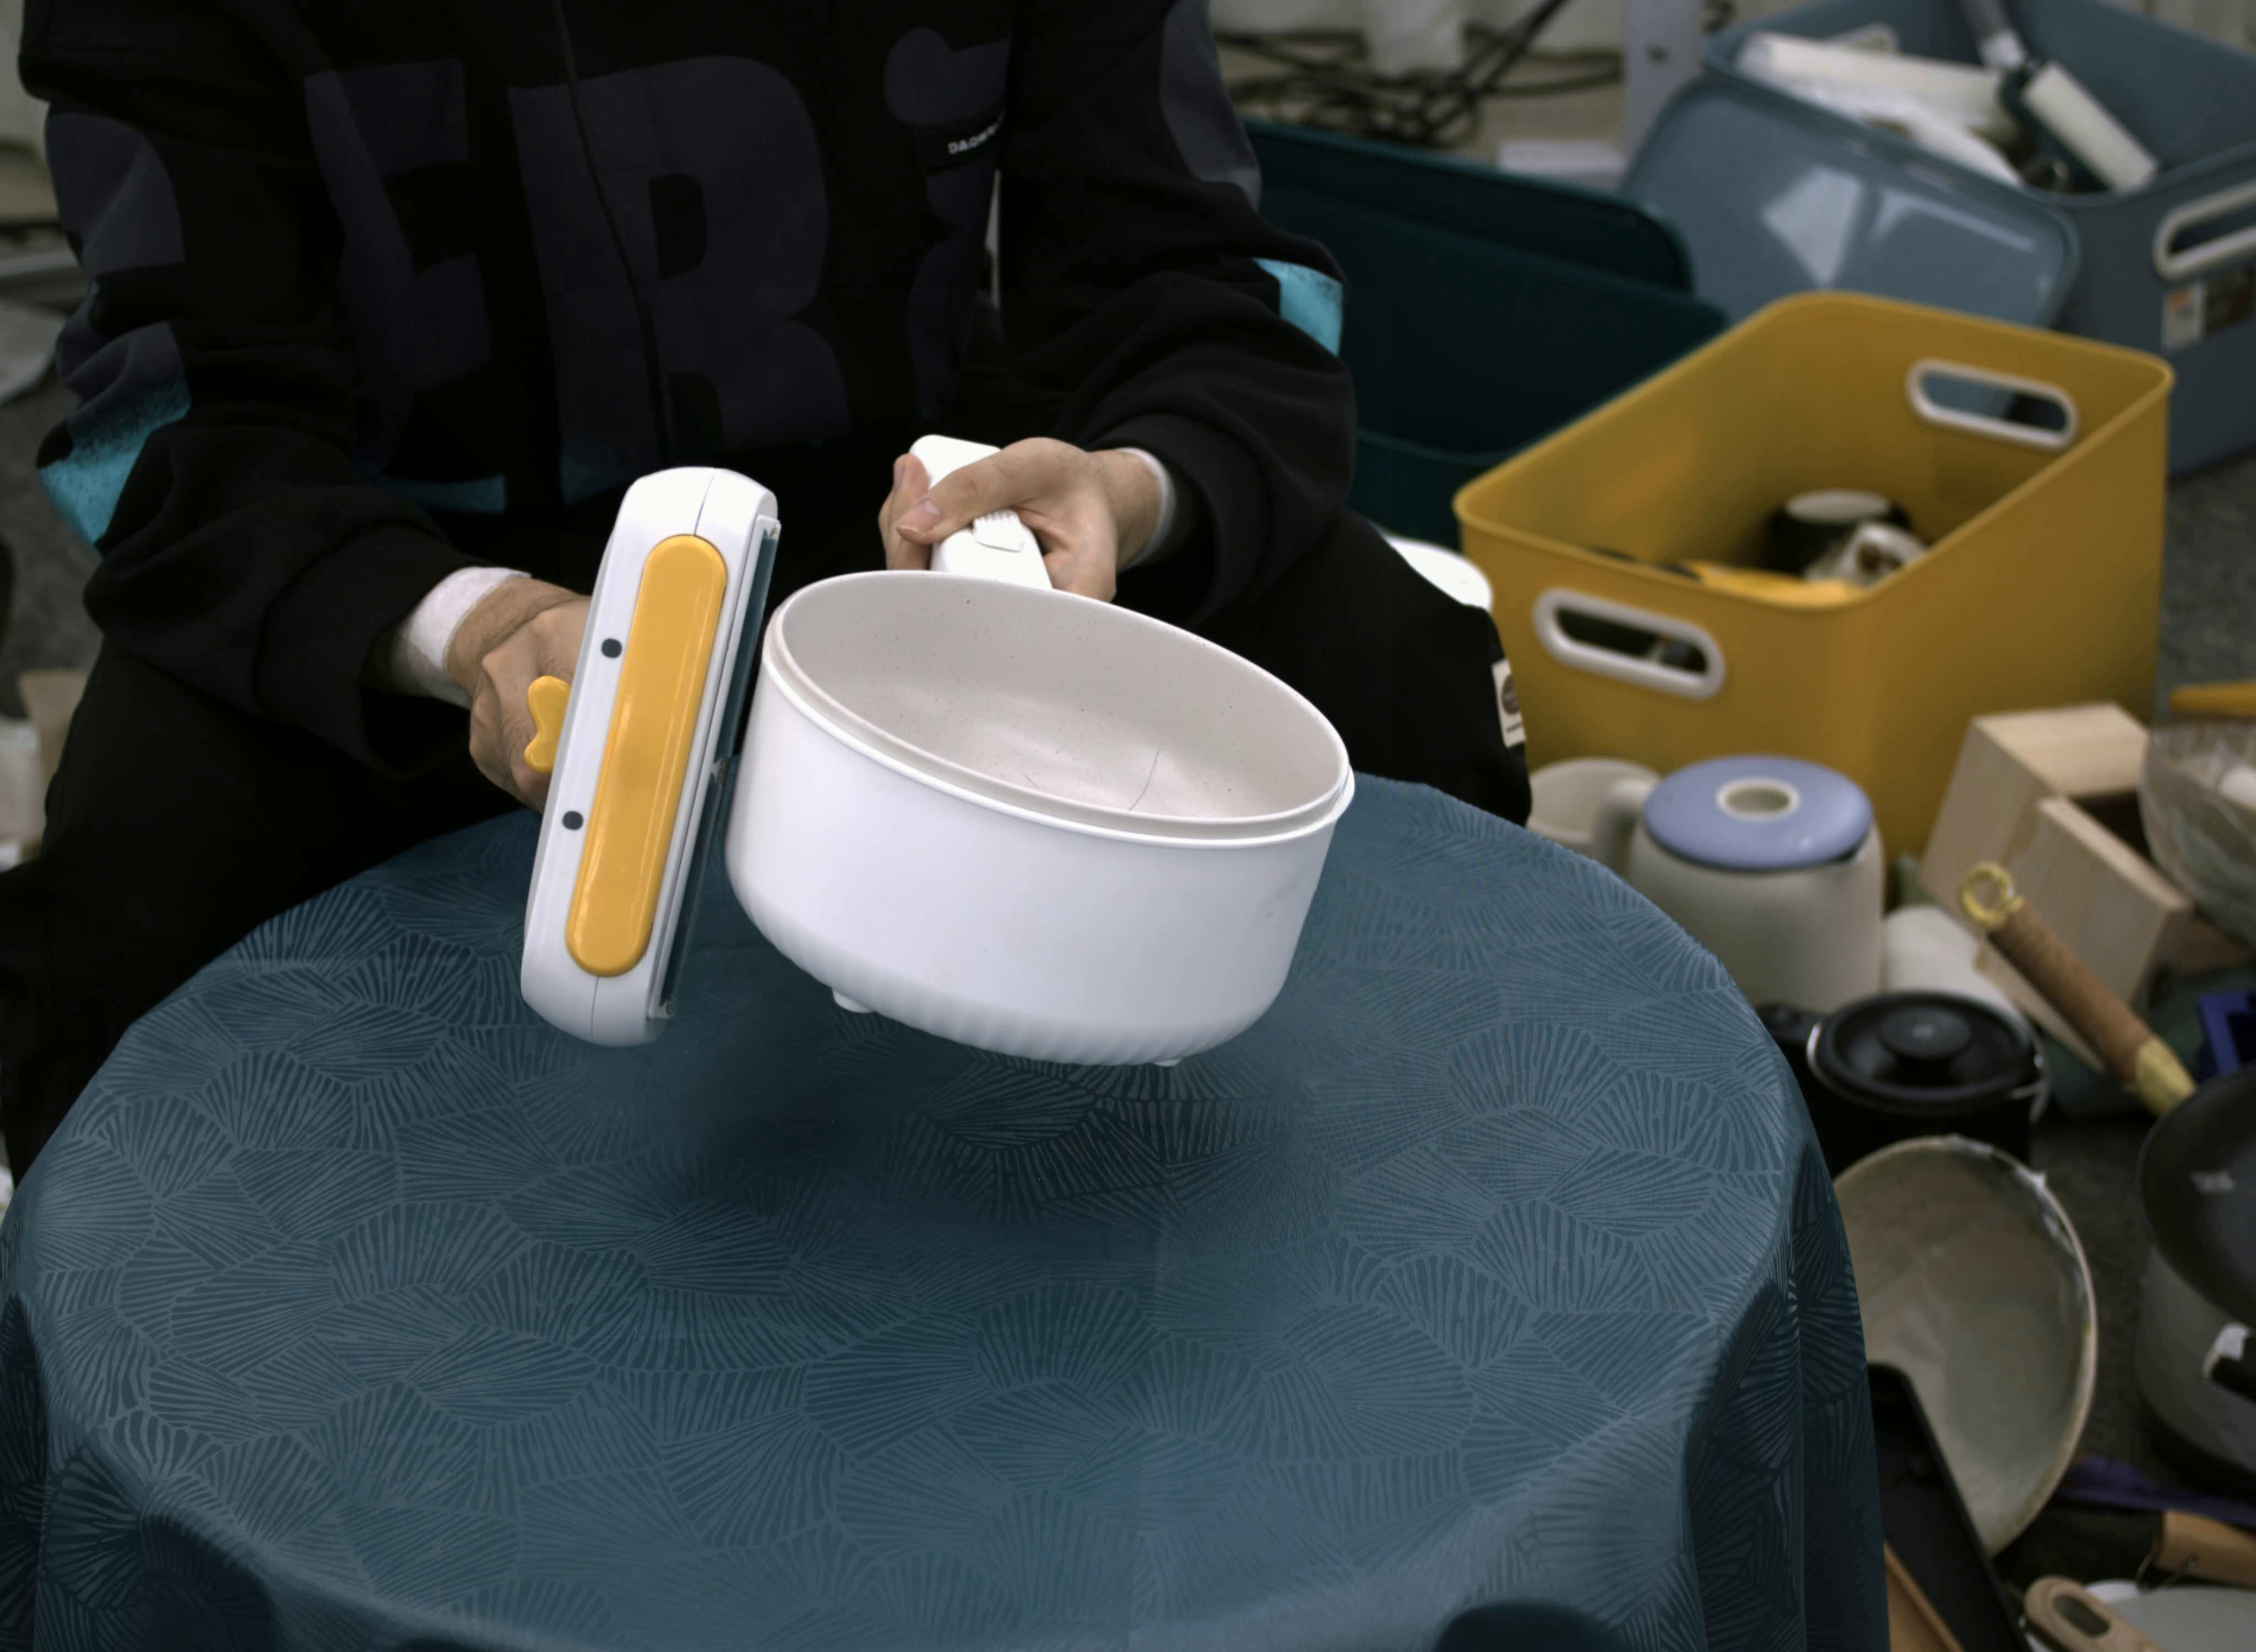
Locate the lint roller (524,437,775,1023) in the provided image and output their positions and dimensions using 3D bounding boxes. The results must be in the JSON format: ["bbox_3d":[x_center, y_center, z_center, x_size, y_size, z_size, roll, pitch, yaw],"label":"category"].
[{"bbox_3d":[-0.167,-0.031,1.899,0.074,0.194,0.192,8,-4,-5],"label":"lint roller"}]

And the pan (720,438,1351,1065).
[{"bbox_3d":[-0.046,-0.029,1.922,0.201,0.101,0.358,10,21,-13],"label":"pan"}]
